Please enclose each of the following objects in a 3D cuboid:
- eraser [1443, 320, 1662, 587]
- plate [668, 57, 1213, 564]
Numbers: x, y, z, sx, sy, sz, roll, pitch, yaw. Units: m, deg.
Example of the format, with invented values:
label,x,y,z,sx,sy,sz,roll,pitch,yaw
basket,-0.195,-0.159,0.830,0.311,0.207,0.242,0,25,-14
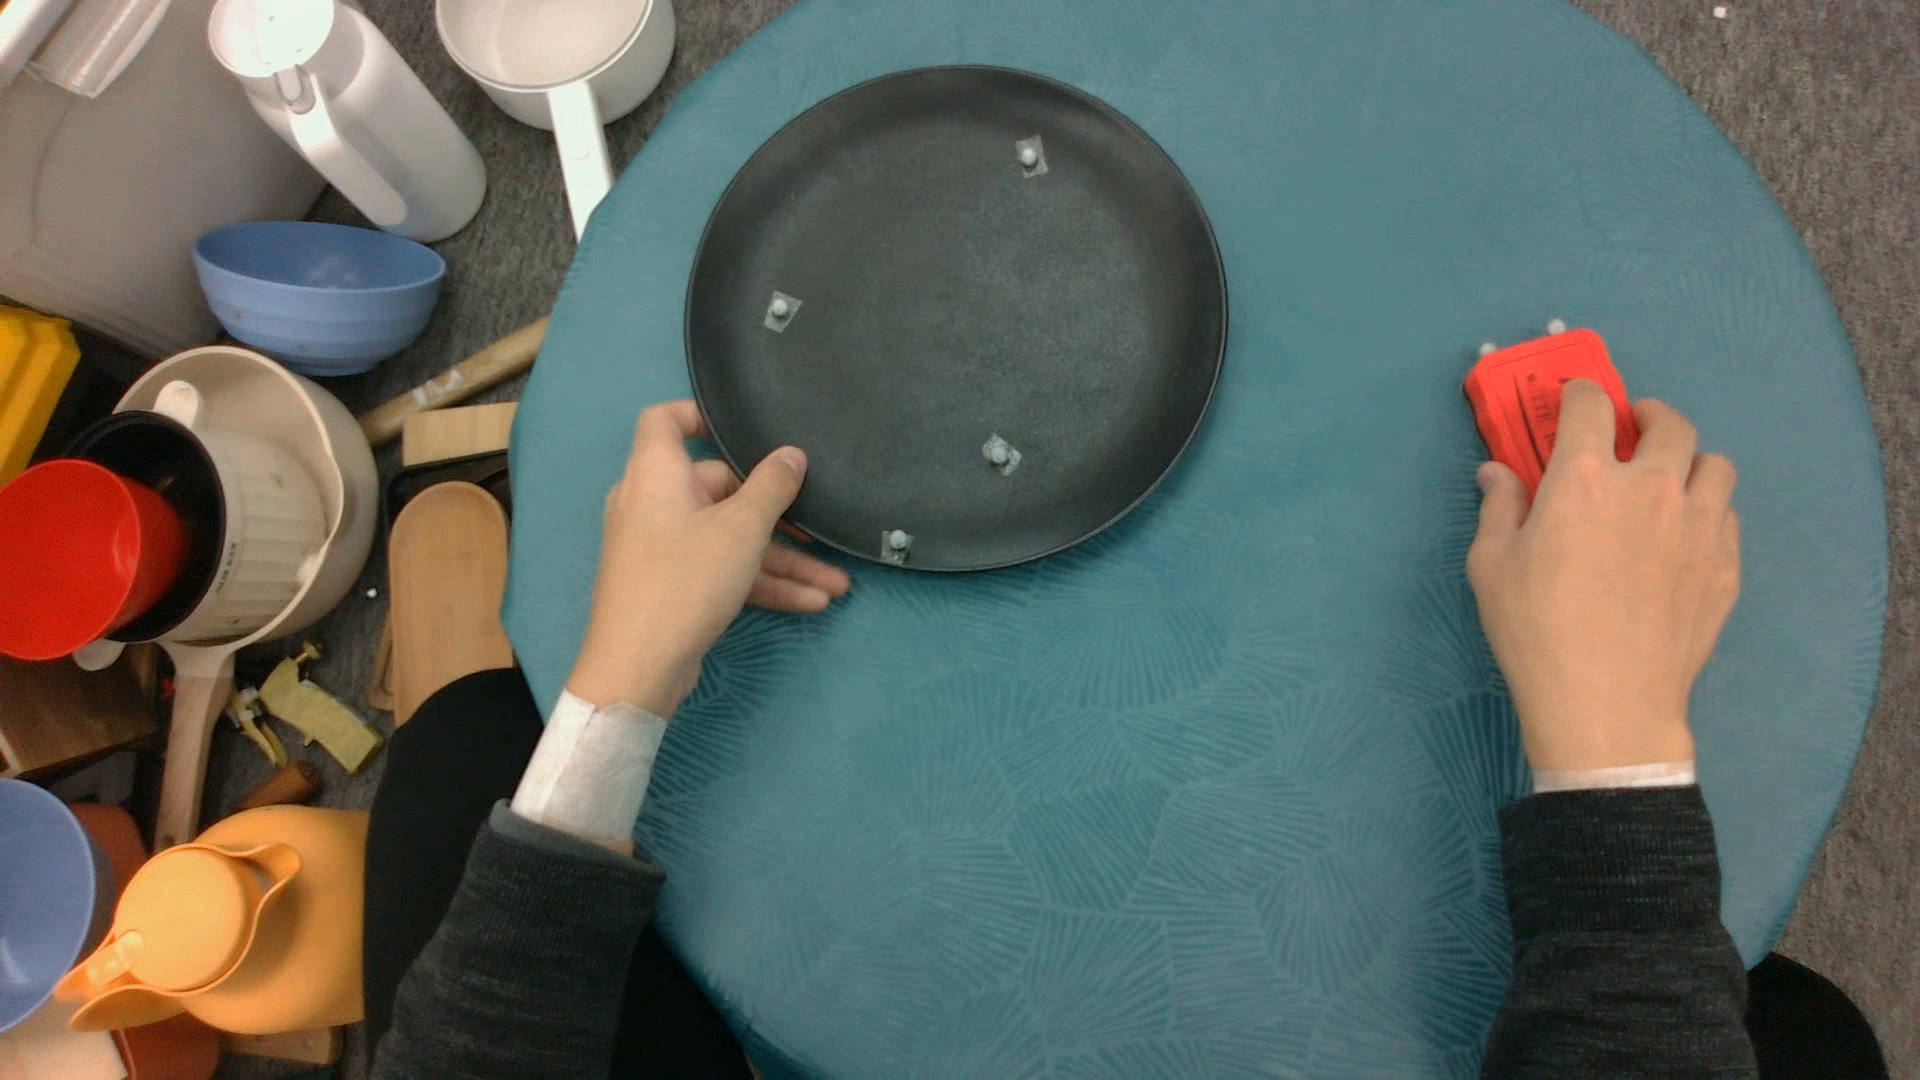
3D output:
label,x,y,z,sx,sy,sz,roll,pitch,yaw
eraser,0.252,-0.038,0.590,0.059,0.023,0.108,-15,75,1
plate,-0.009,-0.106,0.623,0.244,0.023,0.245,-1,76,3
